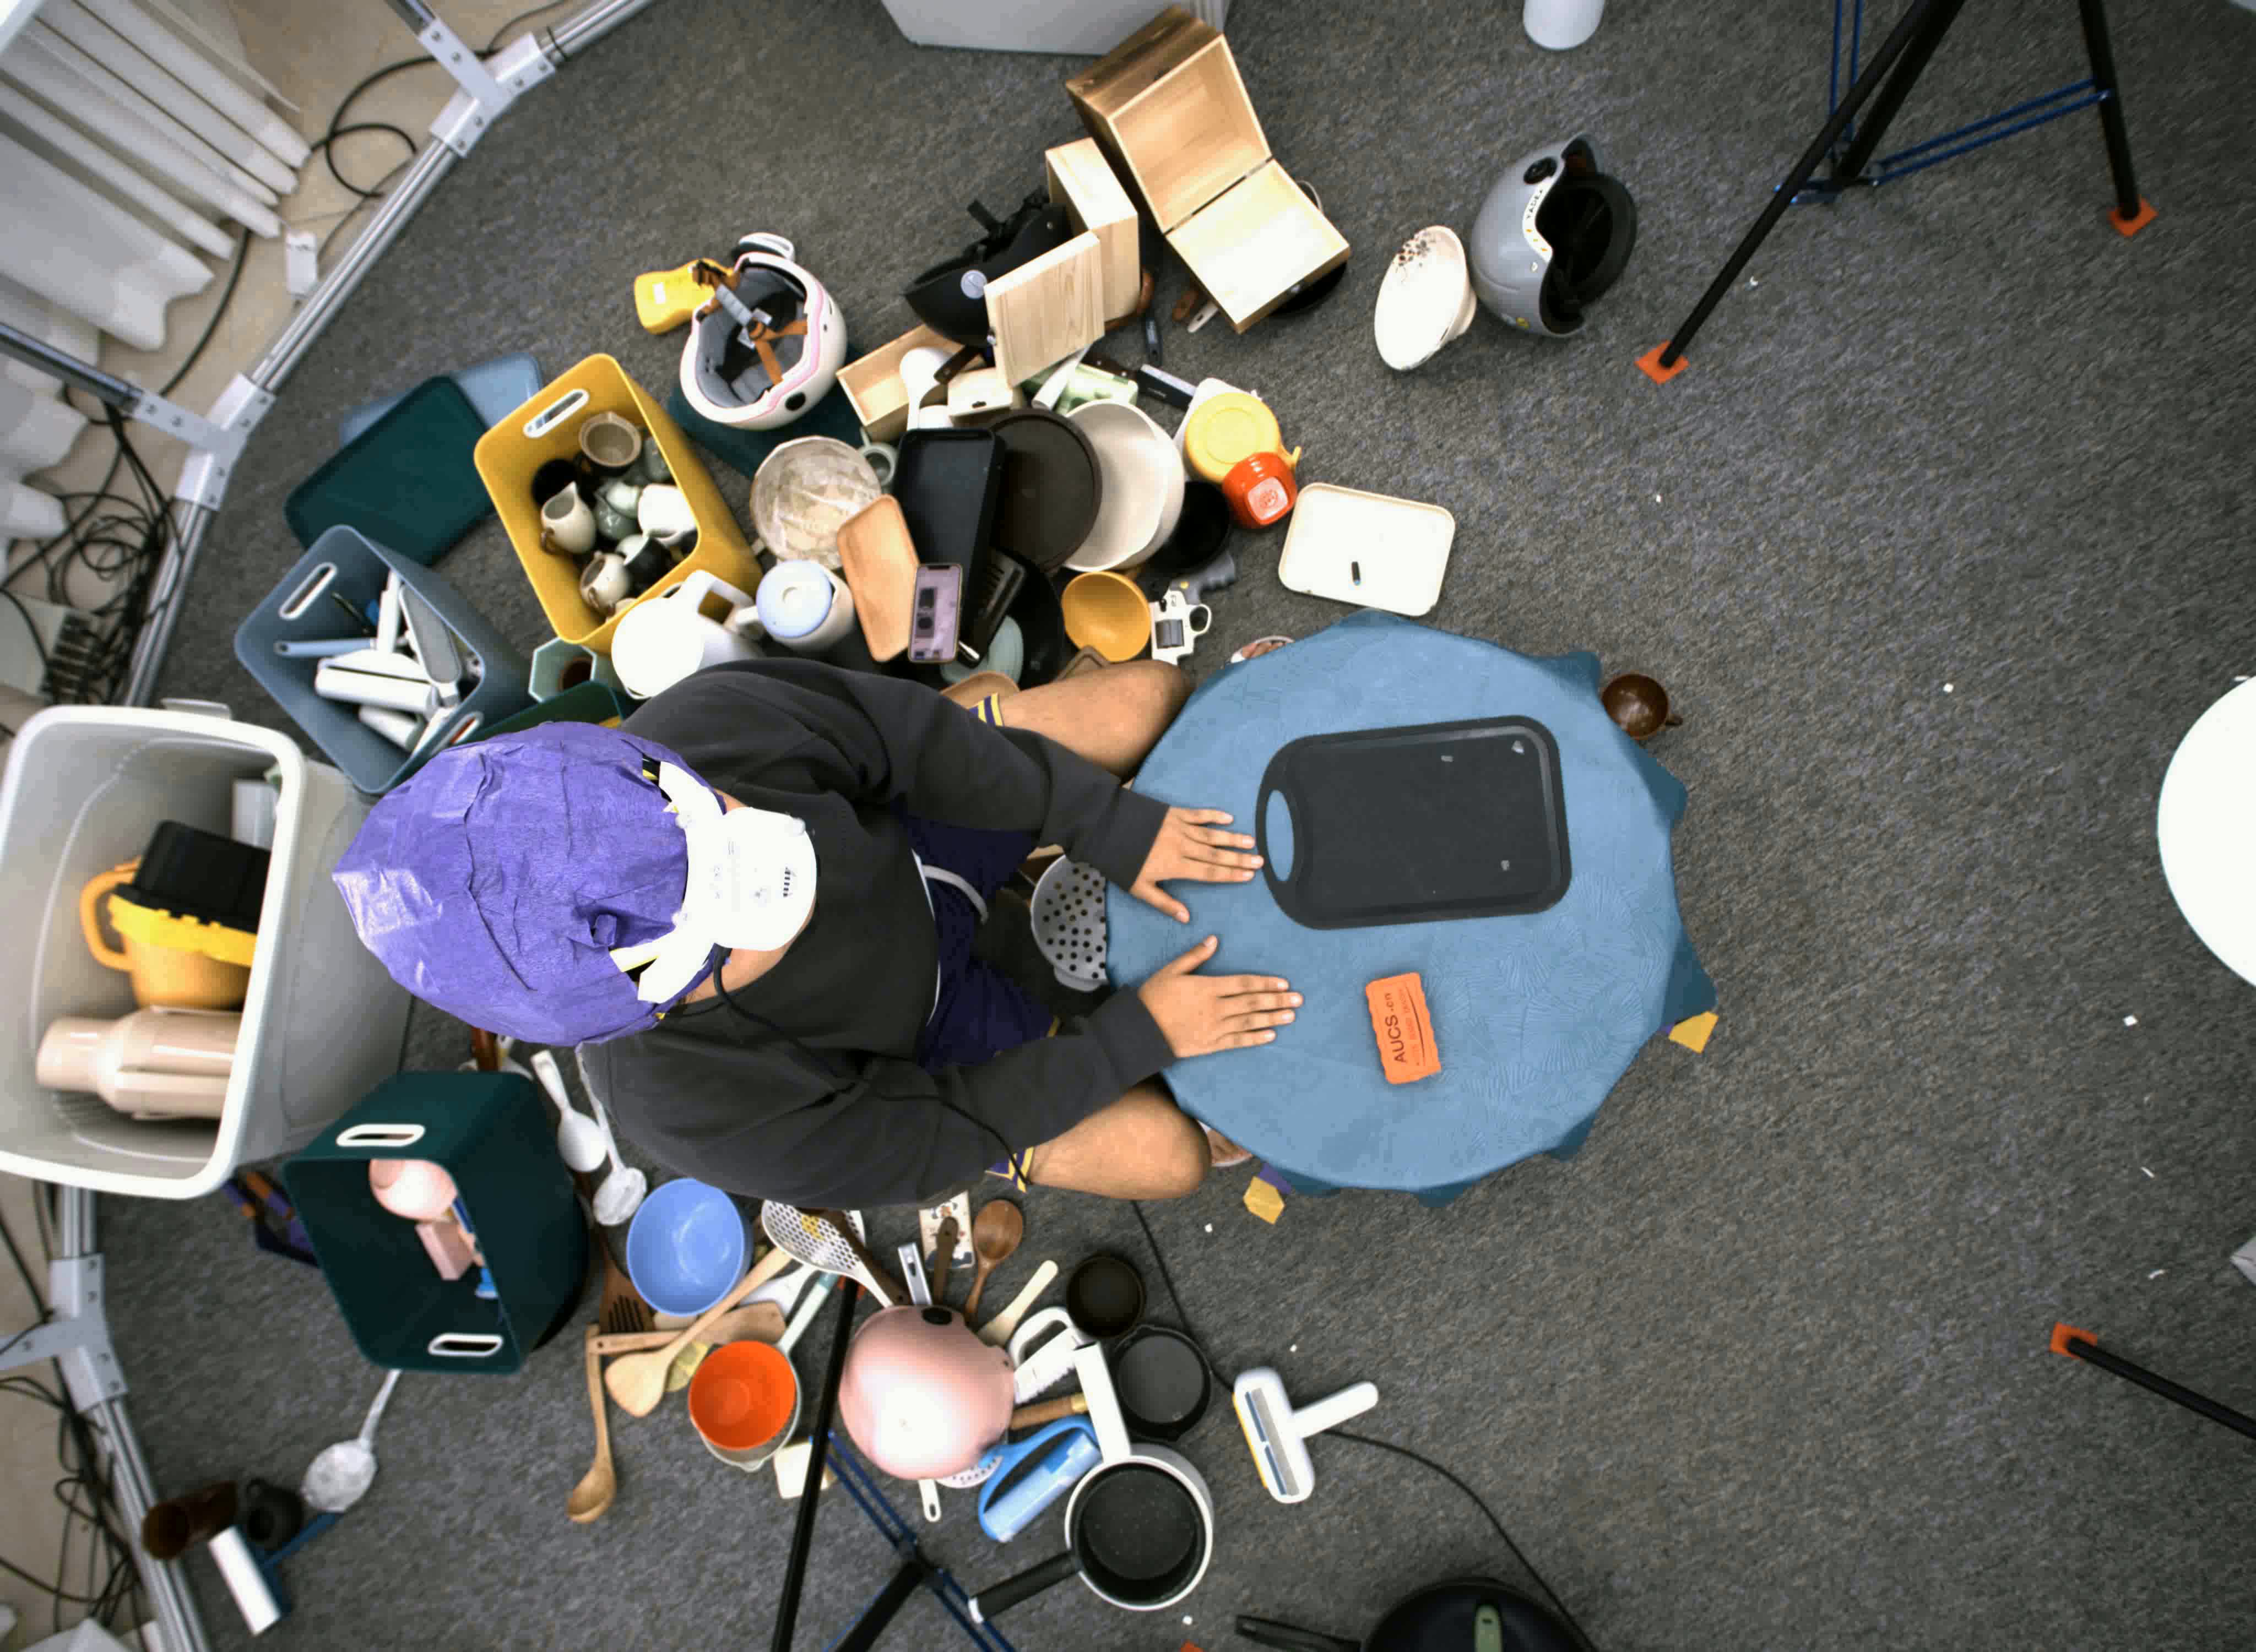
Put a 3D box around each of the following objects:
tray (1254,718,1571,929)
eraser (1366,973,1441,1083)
[{"bbox_3d":[0.296,-0.003,1.455,0.327,0.010,0.210,-5,86,10],"label":"tray"},{"bbox_3d":[0.285,0.208,1.434,0.059,0.023,0.107,-14,83,8],"label":"eraser"}]
